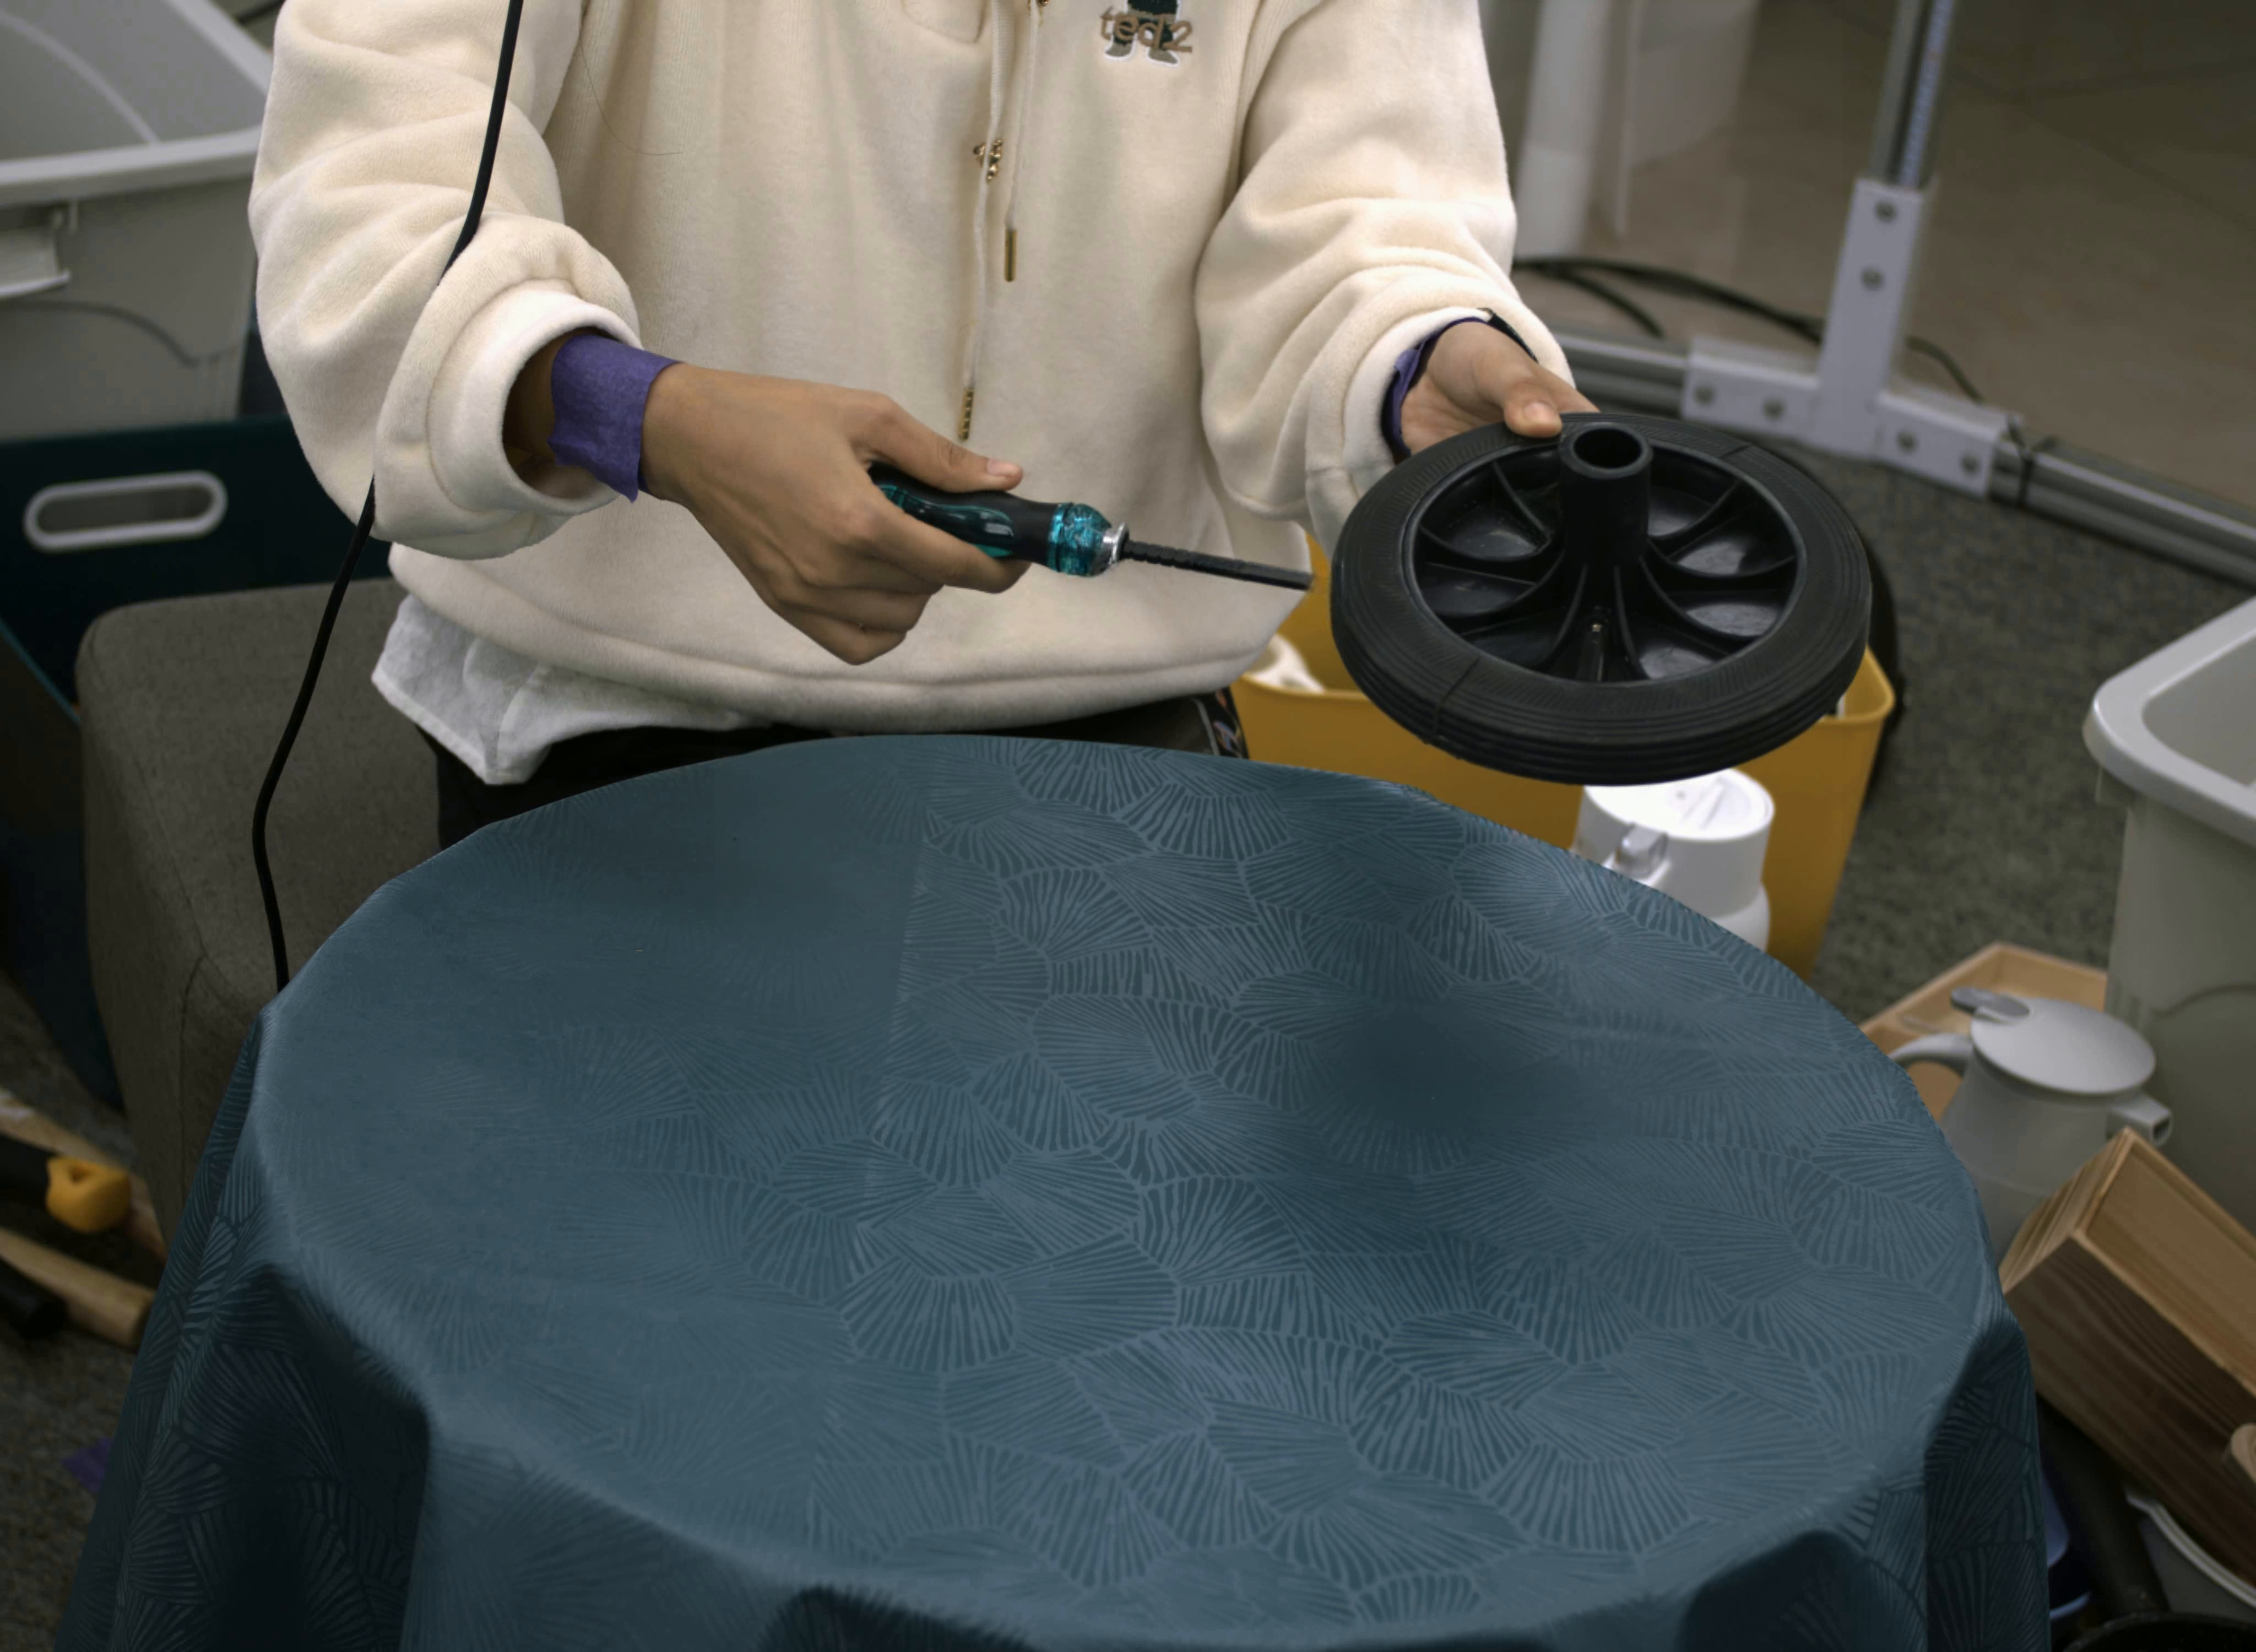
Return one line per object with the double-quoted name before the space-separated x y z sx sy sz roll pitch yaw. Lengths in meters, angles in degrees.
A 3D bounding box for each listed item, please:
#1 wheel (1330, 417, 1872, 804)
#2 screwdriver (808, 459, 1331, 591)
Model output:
"wheel" 0.164 -0.094 1.837 0.186 0.078 0.191 -11 43 -10
"screwdriver" -0.021 -0.100 1.867 0.190 0.033 0.034 11 27 13
